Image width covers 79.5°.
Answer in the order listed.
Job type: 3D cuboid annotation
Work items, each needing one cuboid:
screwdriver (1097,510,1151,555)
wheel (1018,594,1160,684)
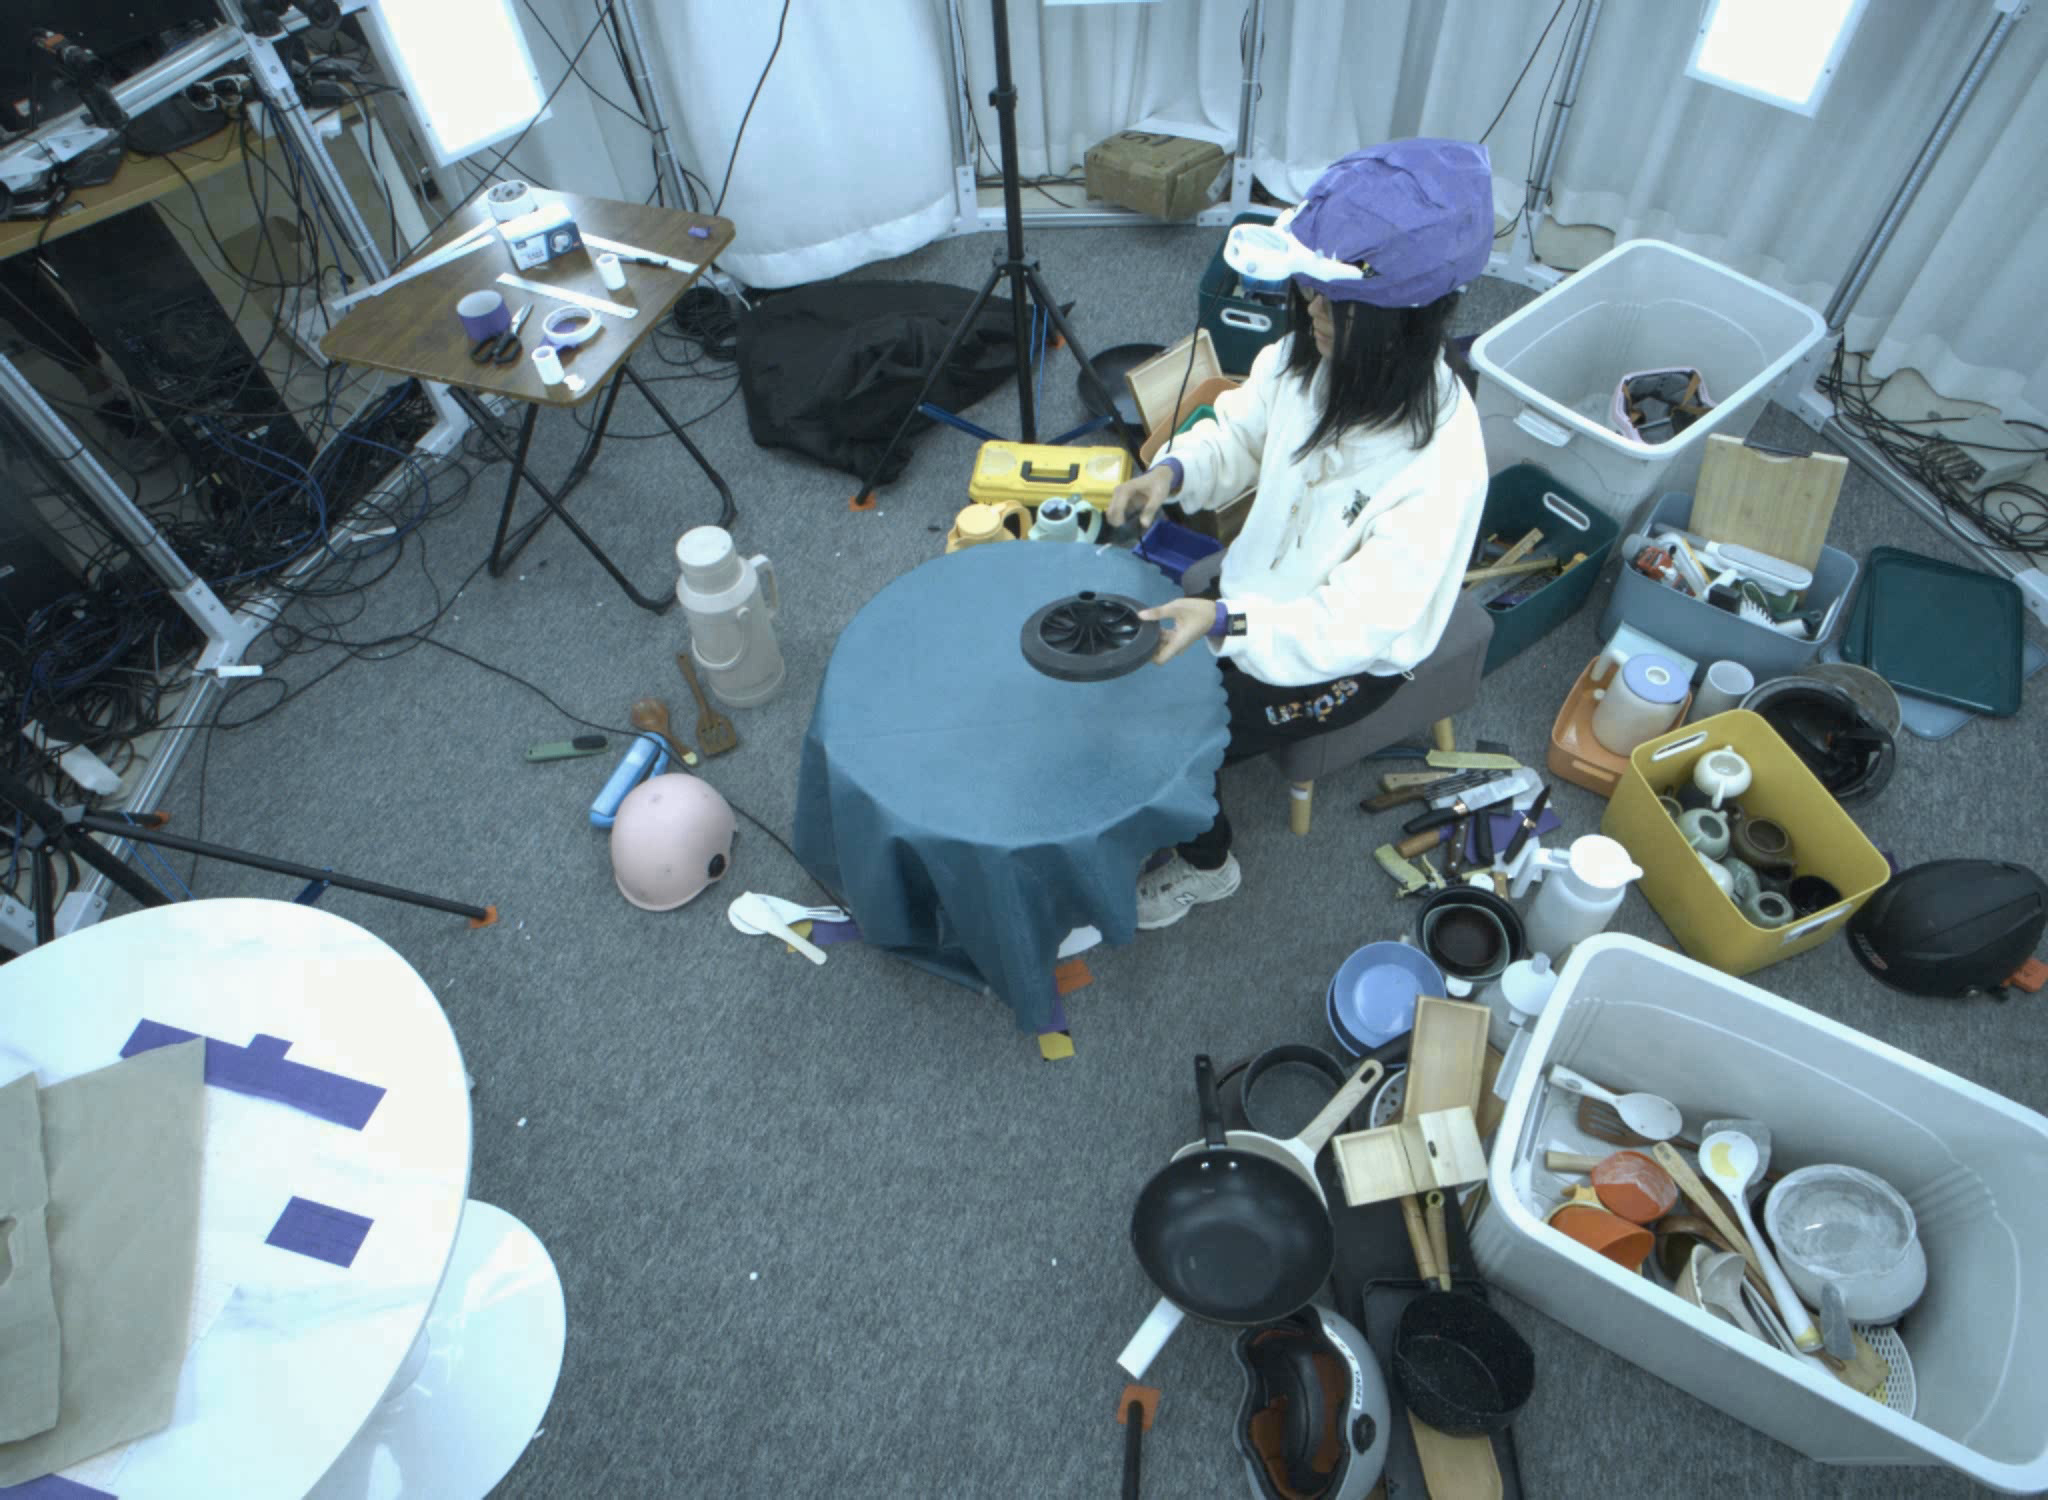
[{"bbox_3d":[0.140,-0.304,1.718,0.031,0.031,0.197,17,29,15],"label":"screwdriver"},{"bbox_3d":[0.083,-0.166,1.630,0.187,0.080,0.188,8,42,22],"label":"wheel"}]
